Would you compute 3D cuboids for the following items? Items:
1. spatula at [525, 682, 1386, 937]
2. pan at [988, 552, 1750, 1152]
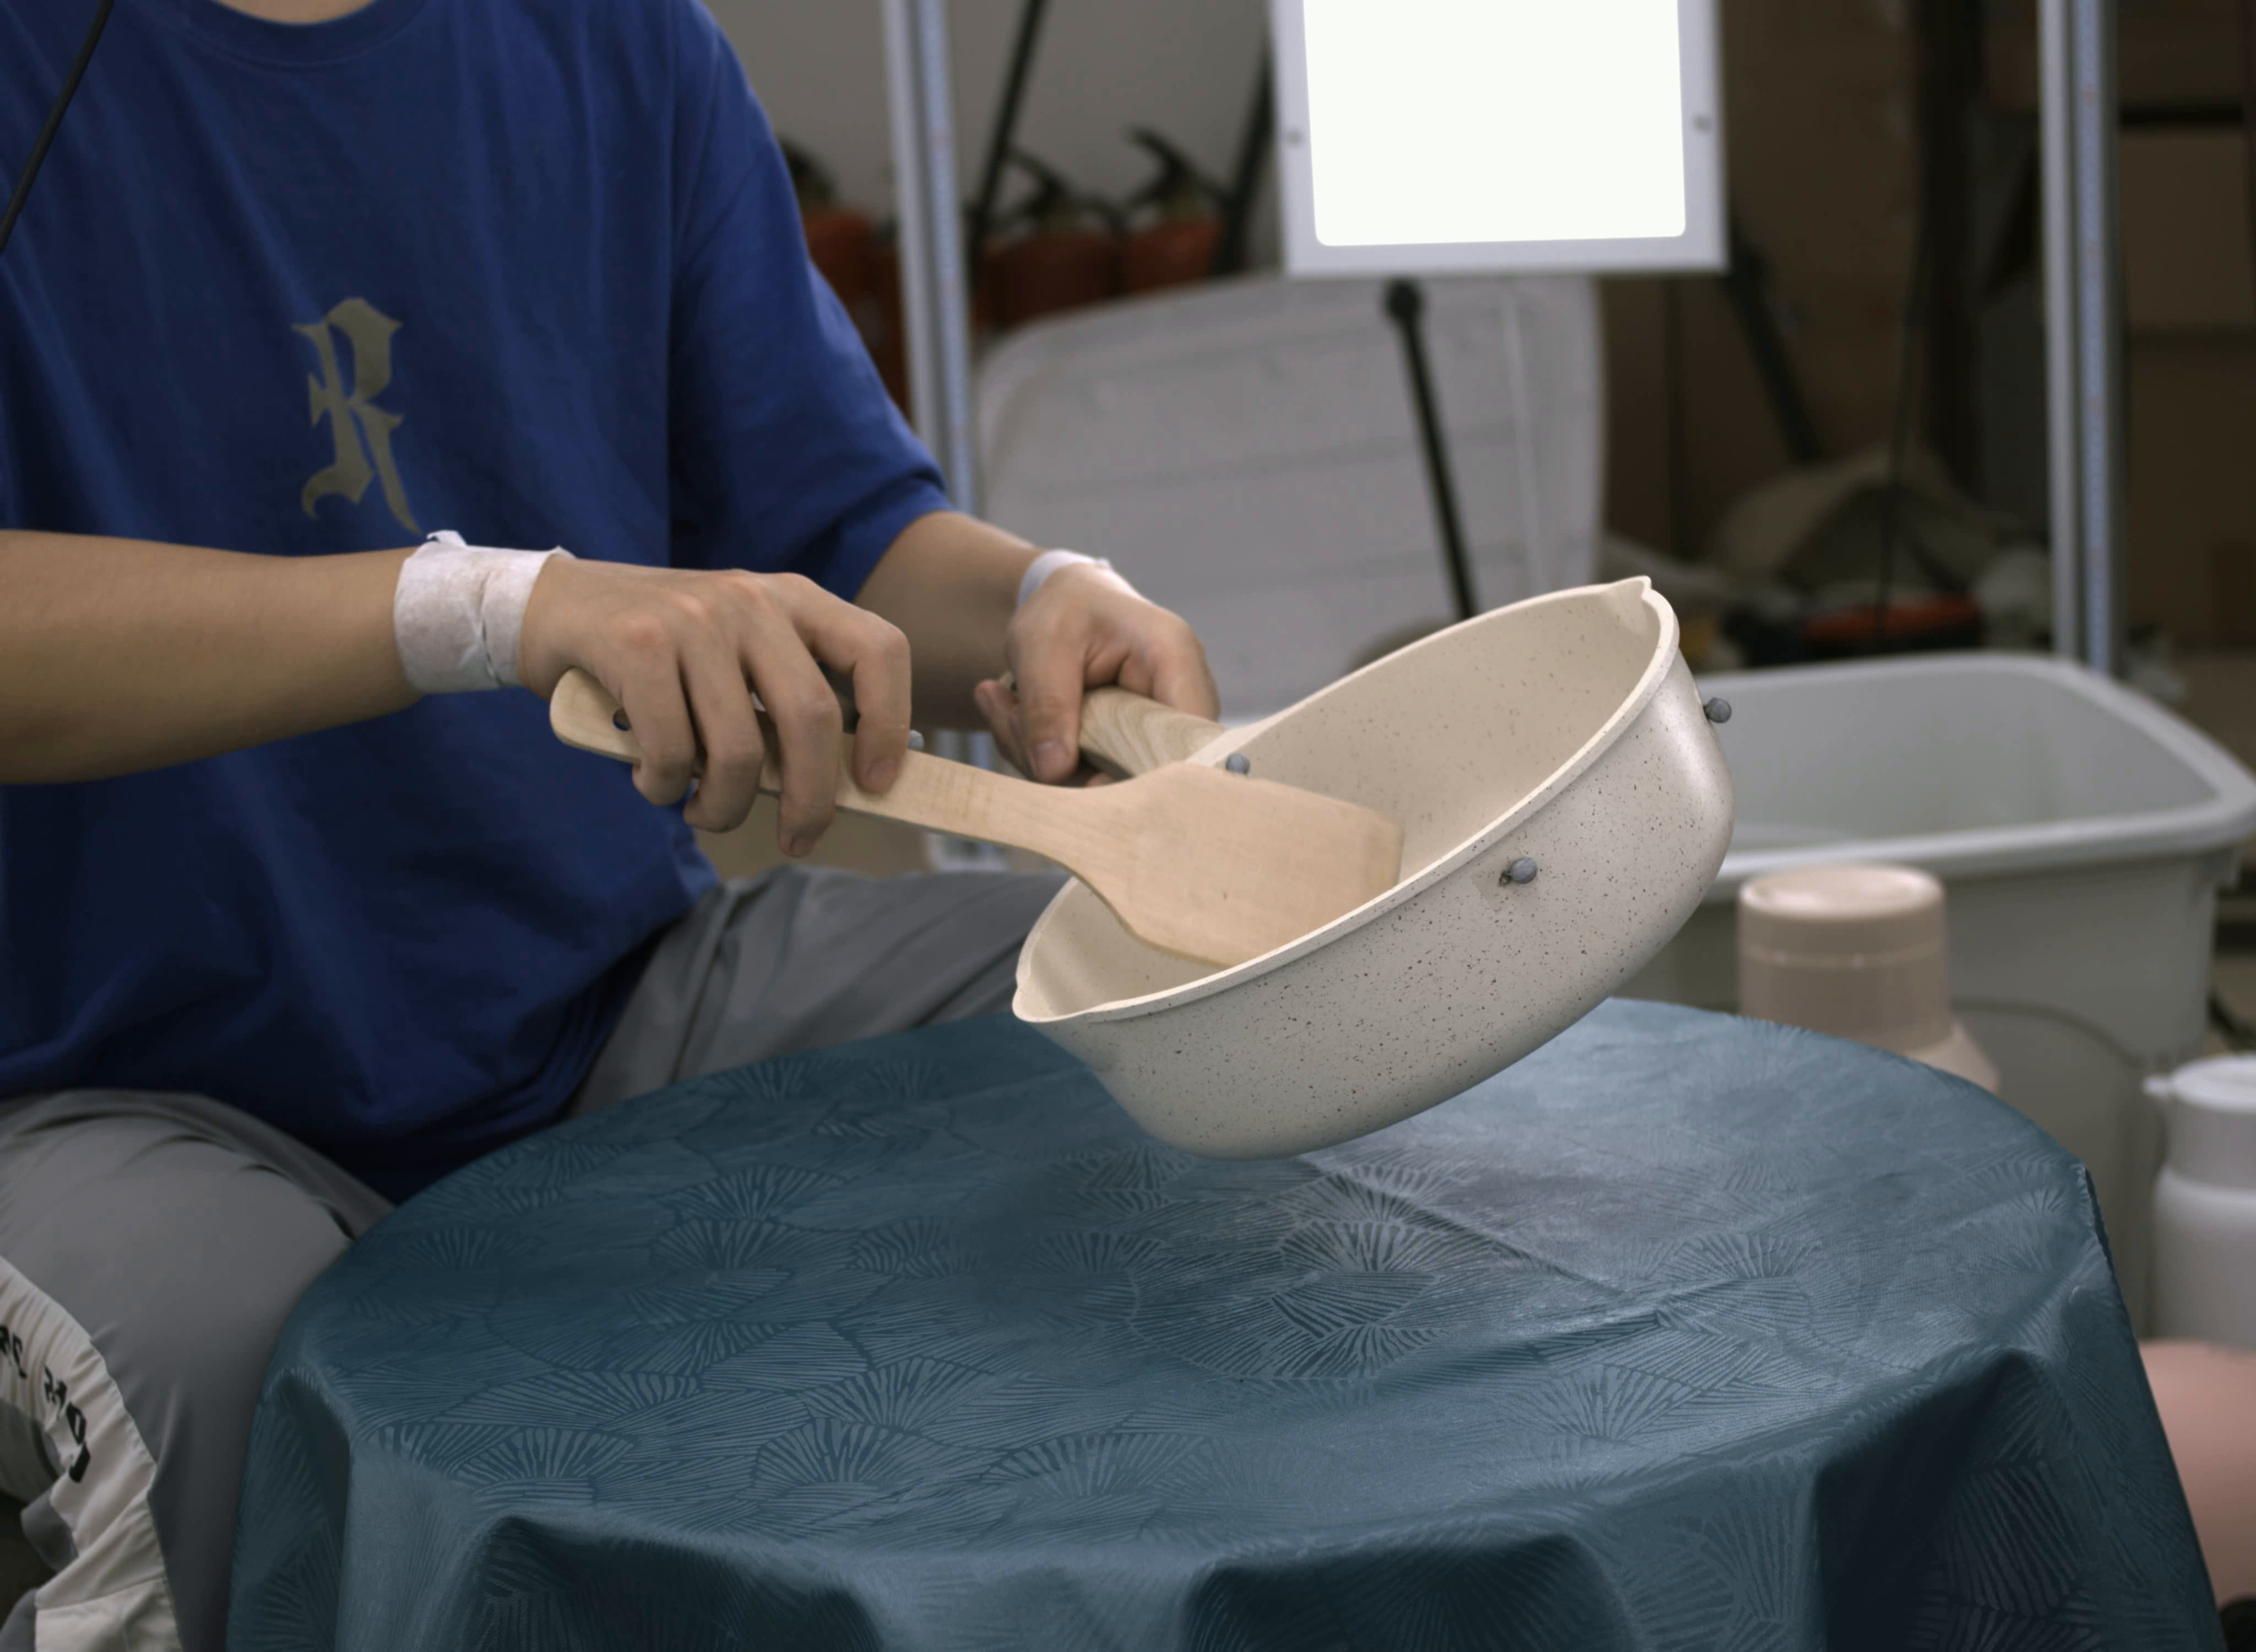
[{"bbox_3d":[-0.058,-0.014,1.854,0.292,0.072,0.011,10,-19,-1],"label":"spatula"},{"bbox_3d":[0.059,0.004,1.914,0.261,0.101,0.441,-38,16,-14],"label":"pan"}]
